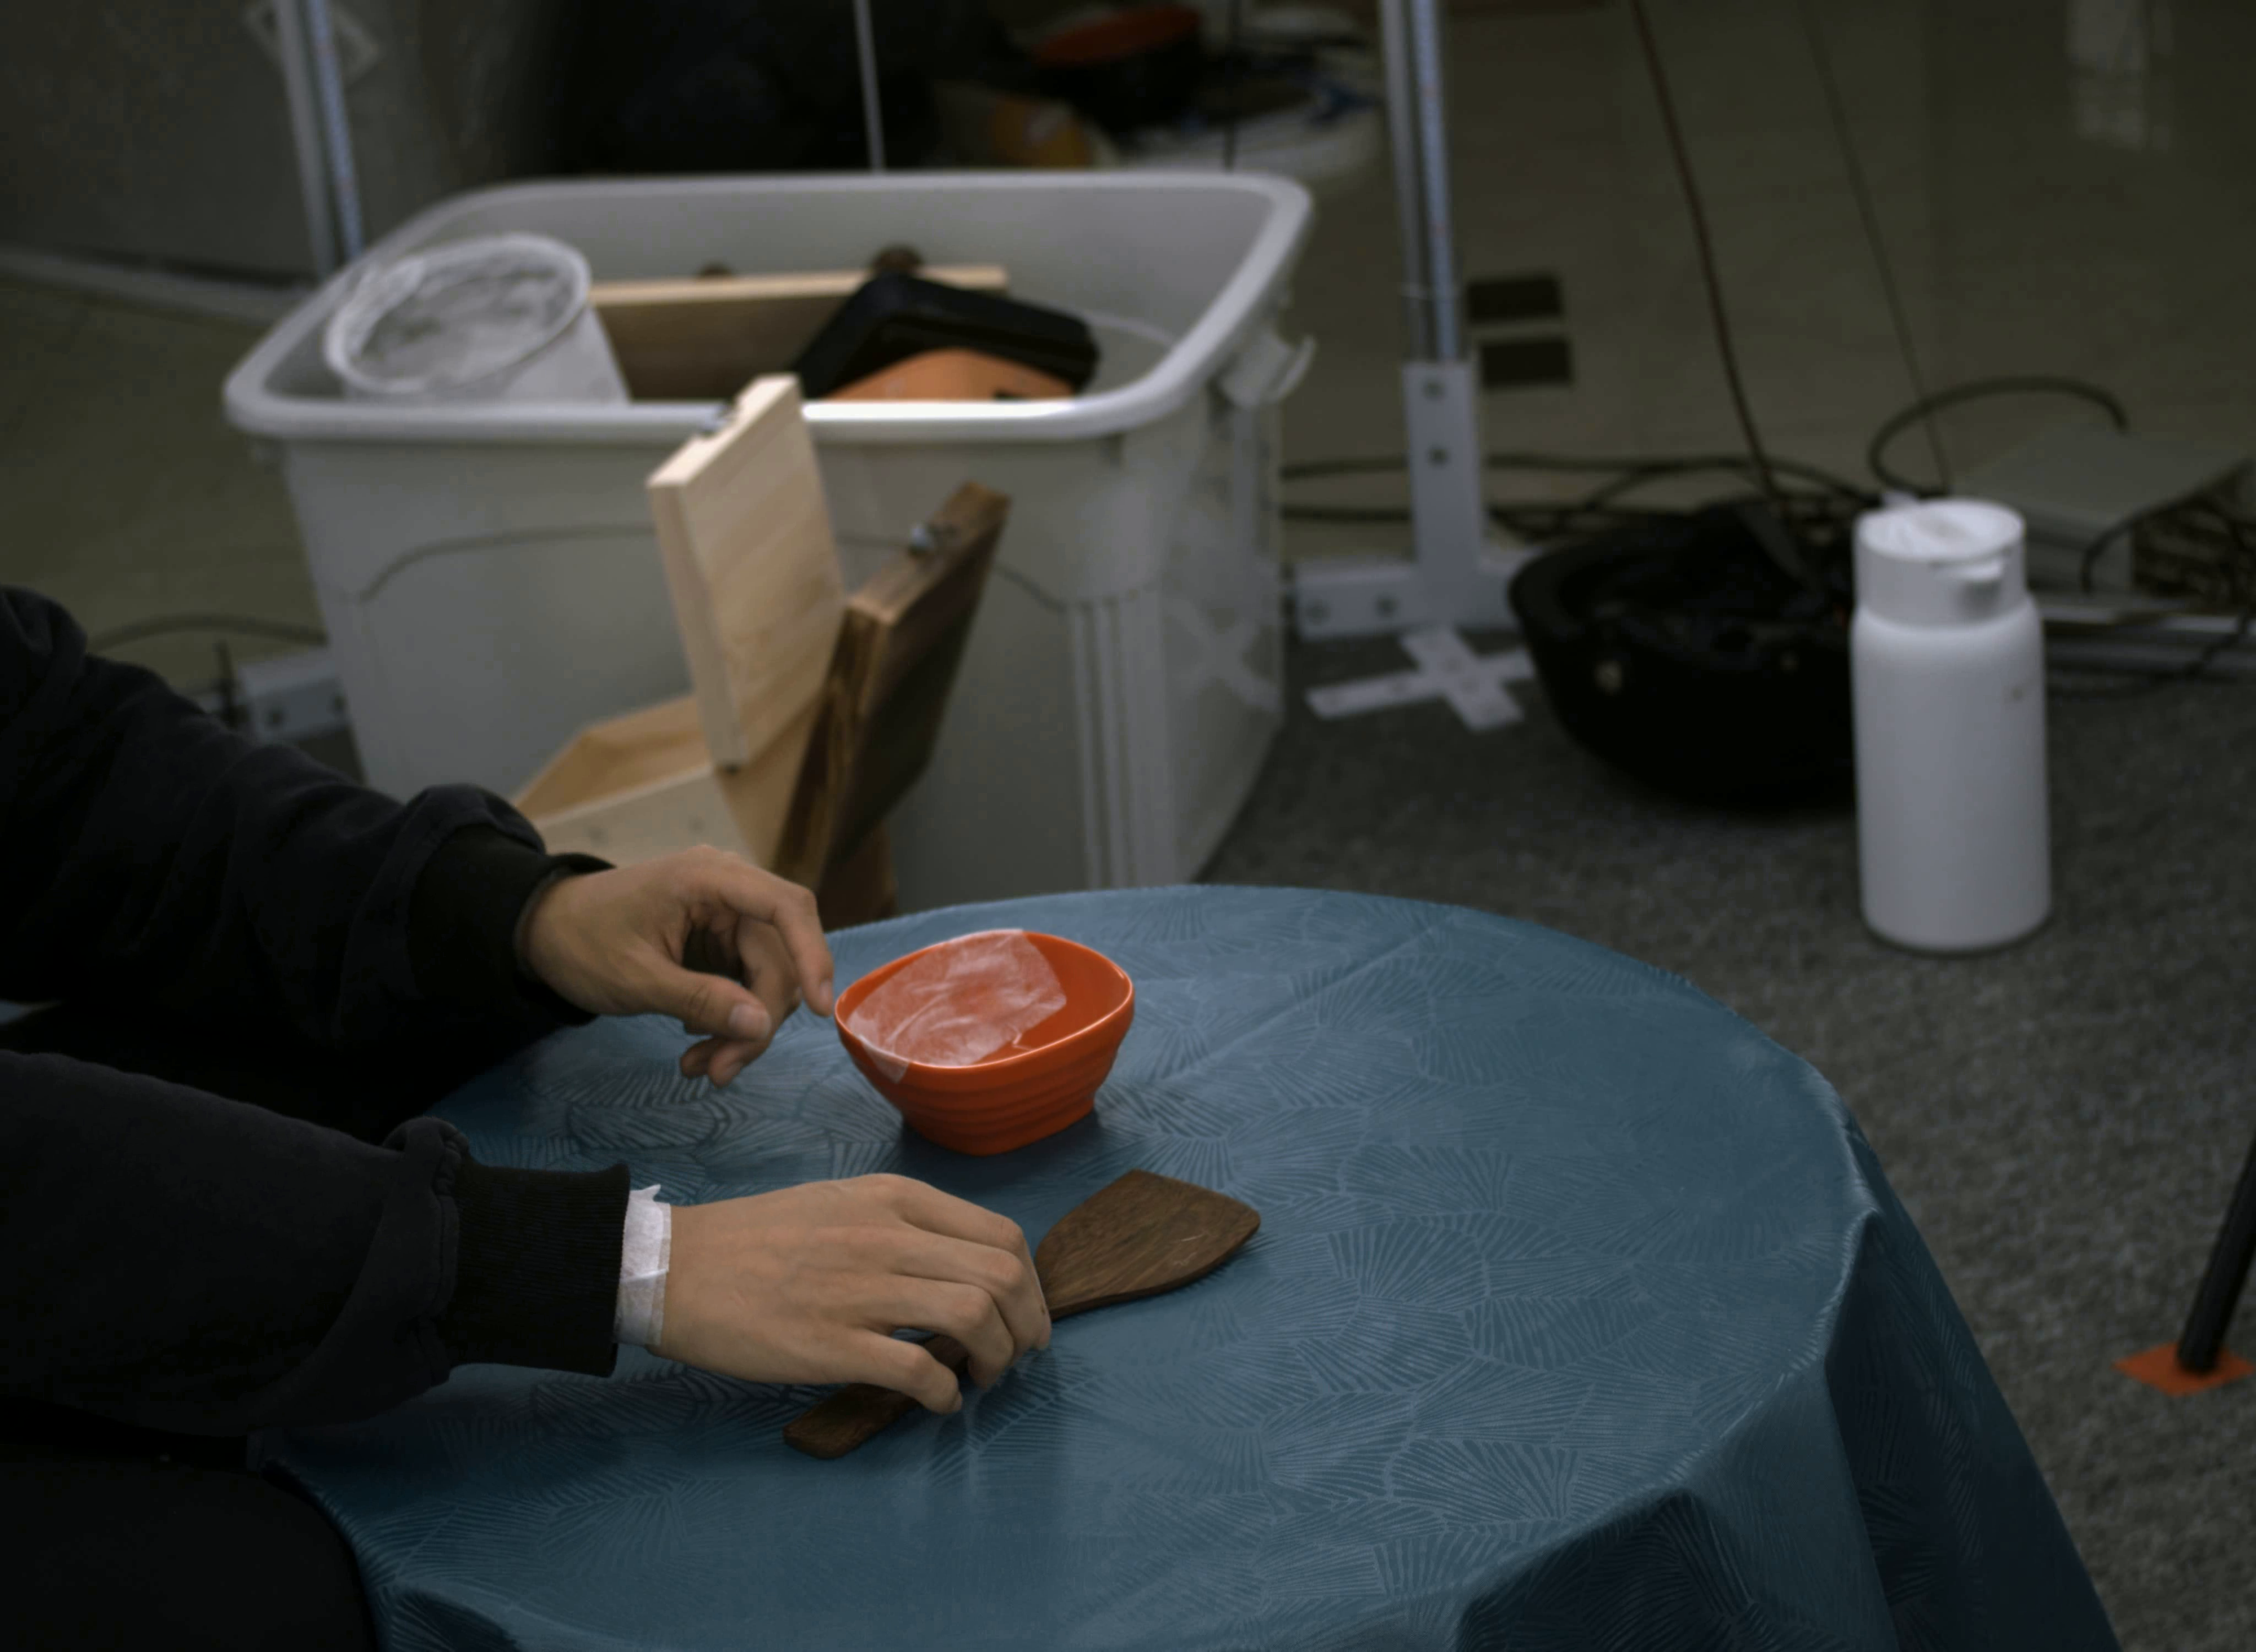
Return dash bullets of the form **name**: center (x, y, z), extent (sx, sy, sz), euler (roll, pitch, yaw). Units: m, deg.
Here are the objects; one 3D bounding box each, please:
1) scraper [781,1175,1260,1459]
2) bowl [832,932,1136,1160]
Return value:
- **scraper**: center (-0.044, 0.180, 2.066), extent (0.075, 0.011, 0.209), euler (17, 34, 42)
- **bowl**: center (-0.054, 0.090, 2.212), extent (0.119, 0.052, 0.117), euler (-4, 26, 2)
